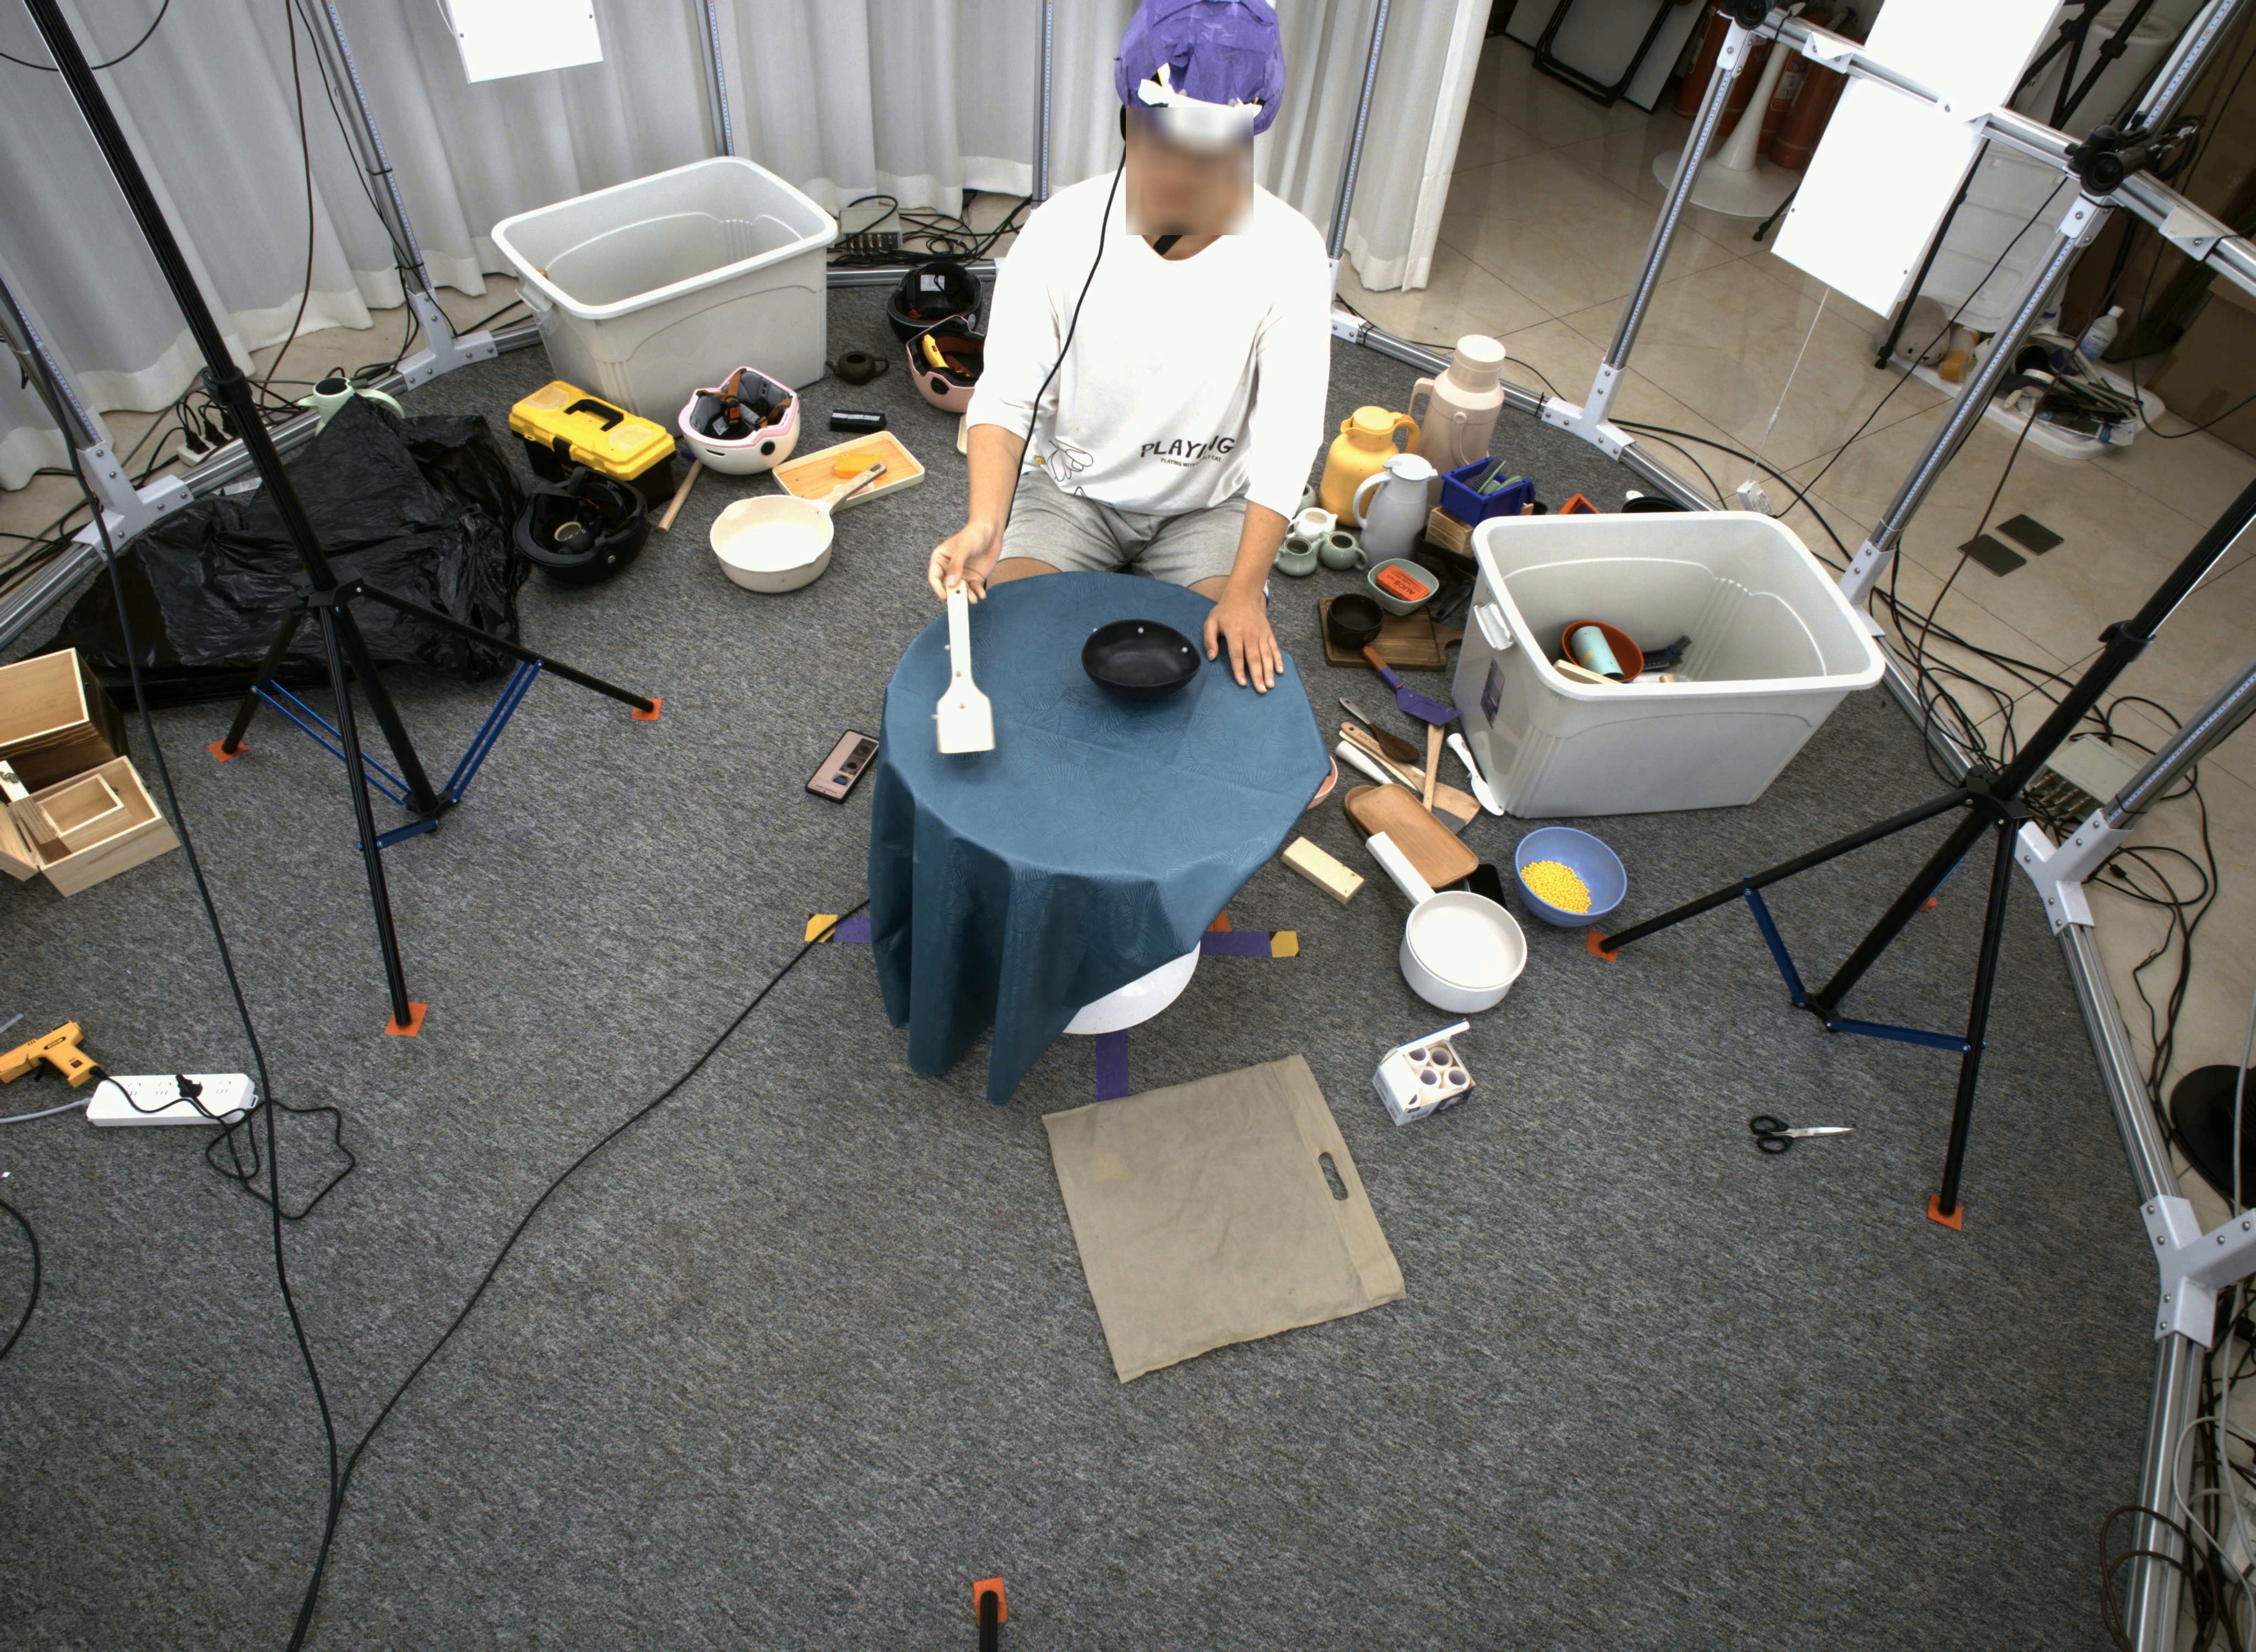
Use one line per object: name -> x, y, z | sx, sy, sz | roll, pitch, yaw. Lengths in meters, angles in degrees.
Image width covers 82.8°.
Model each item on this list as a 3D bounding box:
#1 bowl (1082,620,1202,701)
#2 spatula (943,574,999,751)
bowl -> 0.018, -0.225, 1.820 | 0.170, 0.065, 0.141 | -3, 49, -10
spatula -> -0.225, -0.228, 1.760 | 0.072, 0.010, 0.299 | -6, 61, -5
